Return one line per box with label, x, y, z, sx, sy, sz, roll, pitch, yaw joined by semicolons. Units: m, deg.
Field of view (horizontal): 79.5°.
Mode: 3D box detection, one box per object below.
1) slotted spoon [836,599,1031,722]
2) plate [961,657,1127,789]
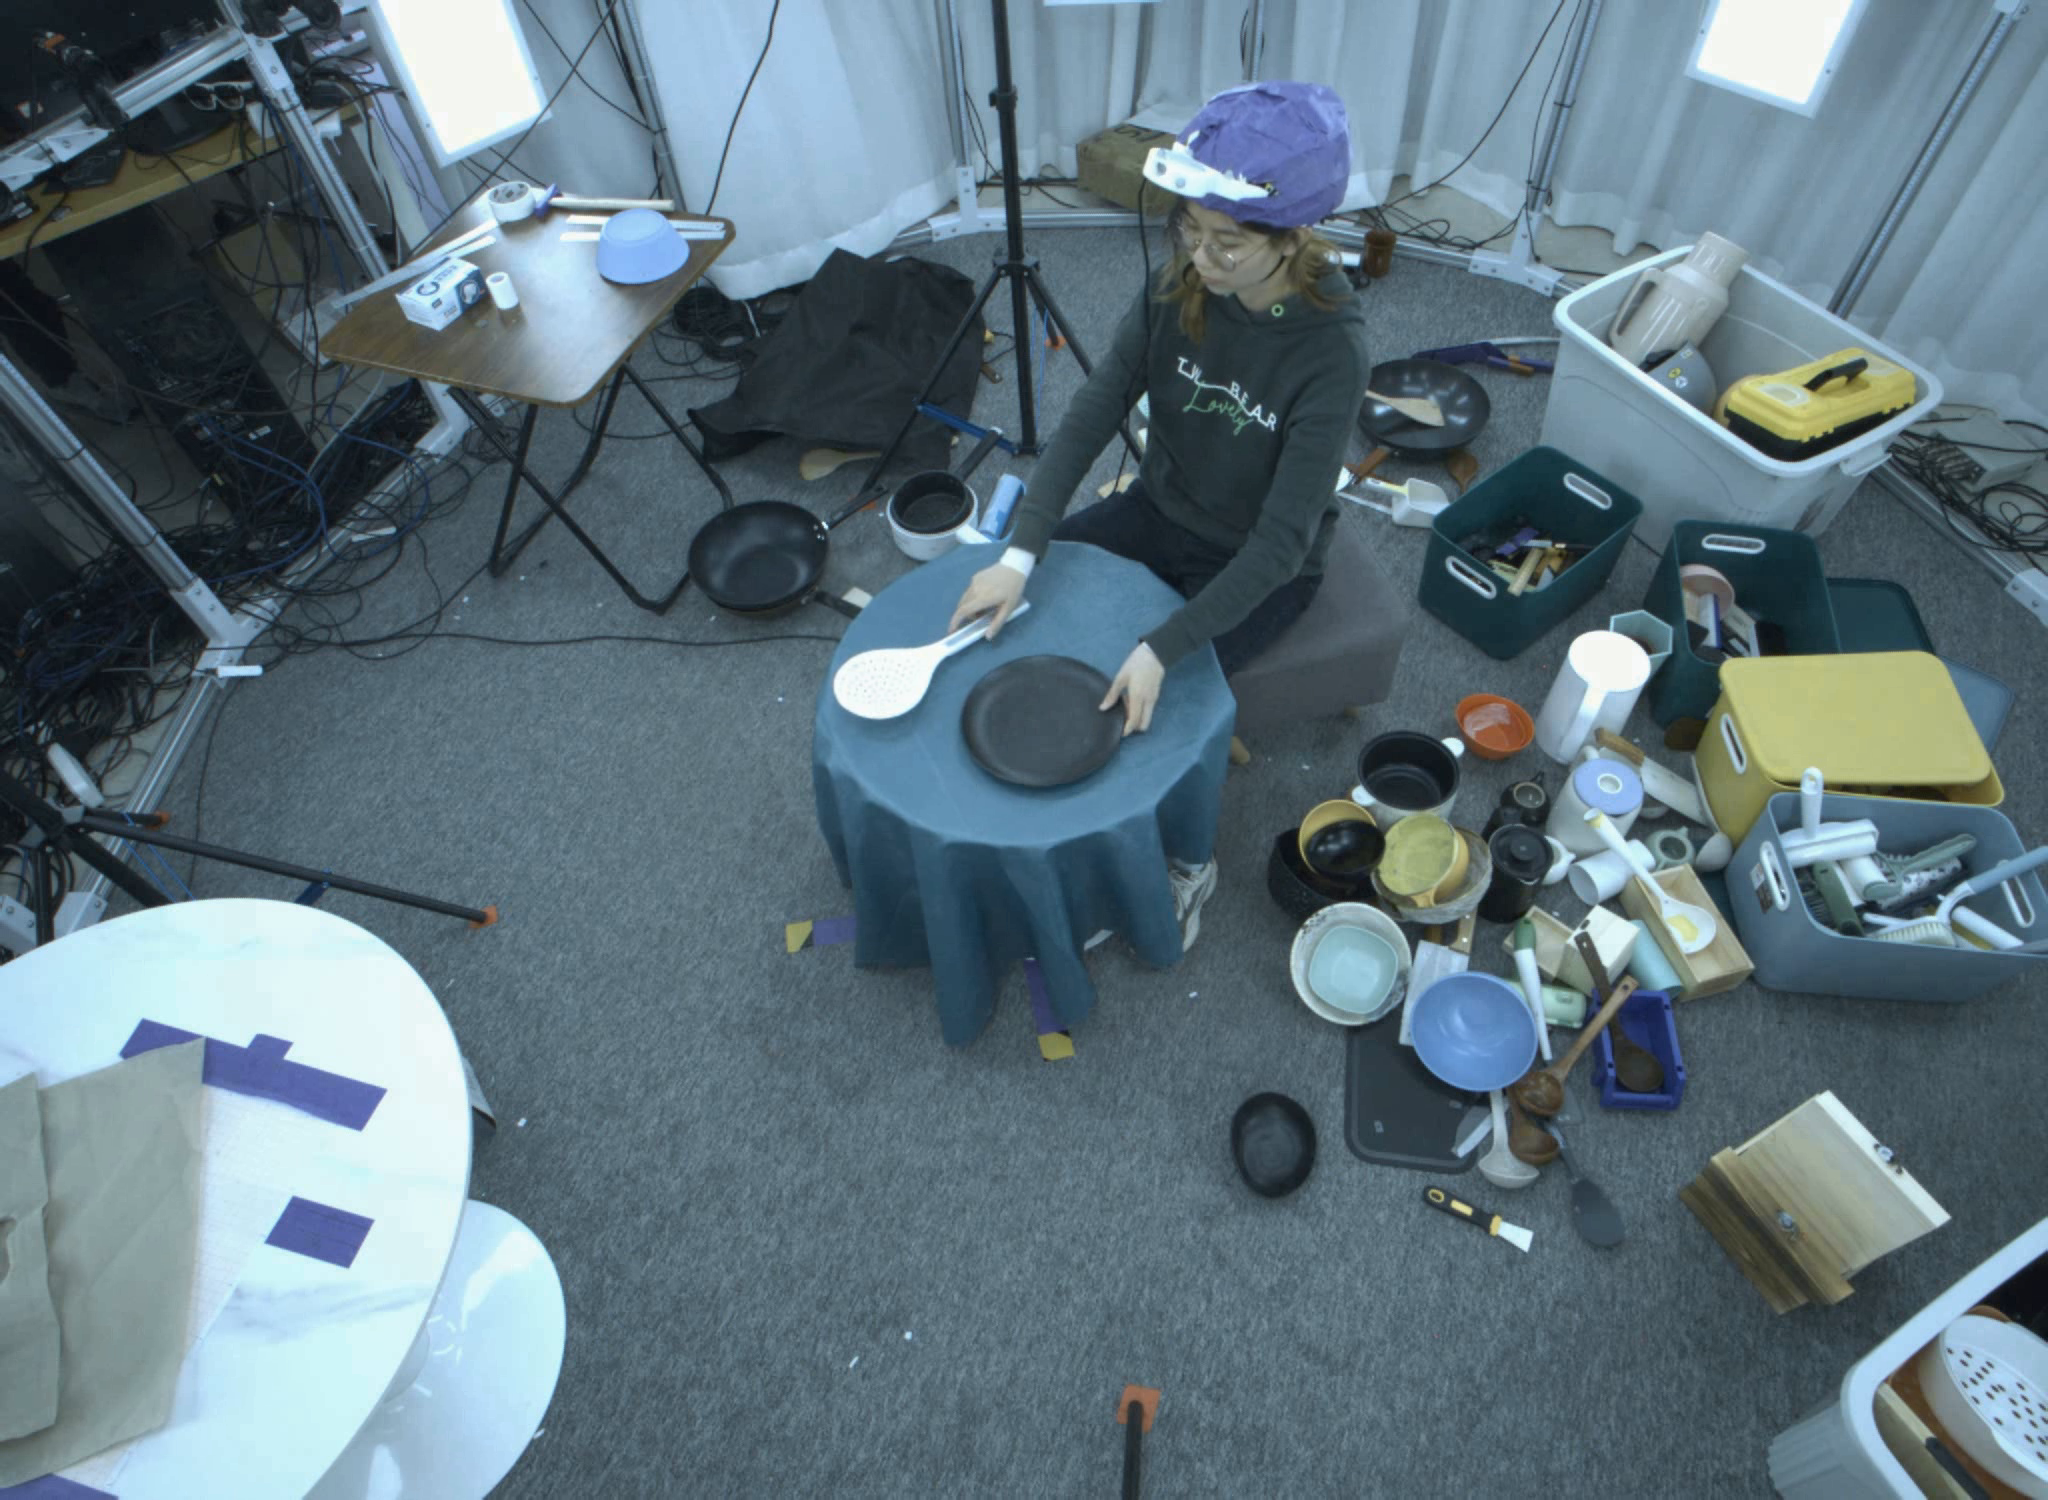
slotted spoon;-0.130;-0.145;1.875;0.352;0.046;0.133;-36;63;-22
plate;0.030;-0.037;1.809;0.244;0.024;0.242;0;55;2
